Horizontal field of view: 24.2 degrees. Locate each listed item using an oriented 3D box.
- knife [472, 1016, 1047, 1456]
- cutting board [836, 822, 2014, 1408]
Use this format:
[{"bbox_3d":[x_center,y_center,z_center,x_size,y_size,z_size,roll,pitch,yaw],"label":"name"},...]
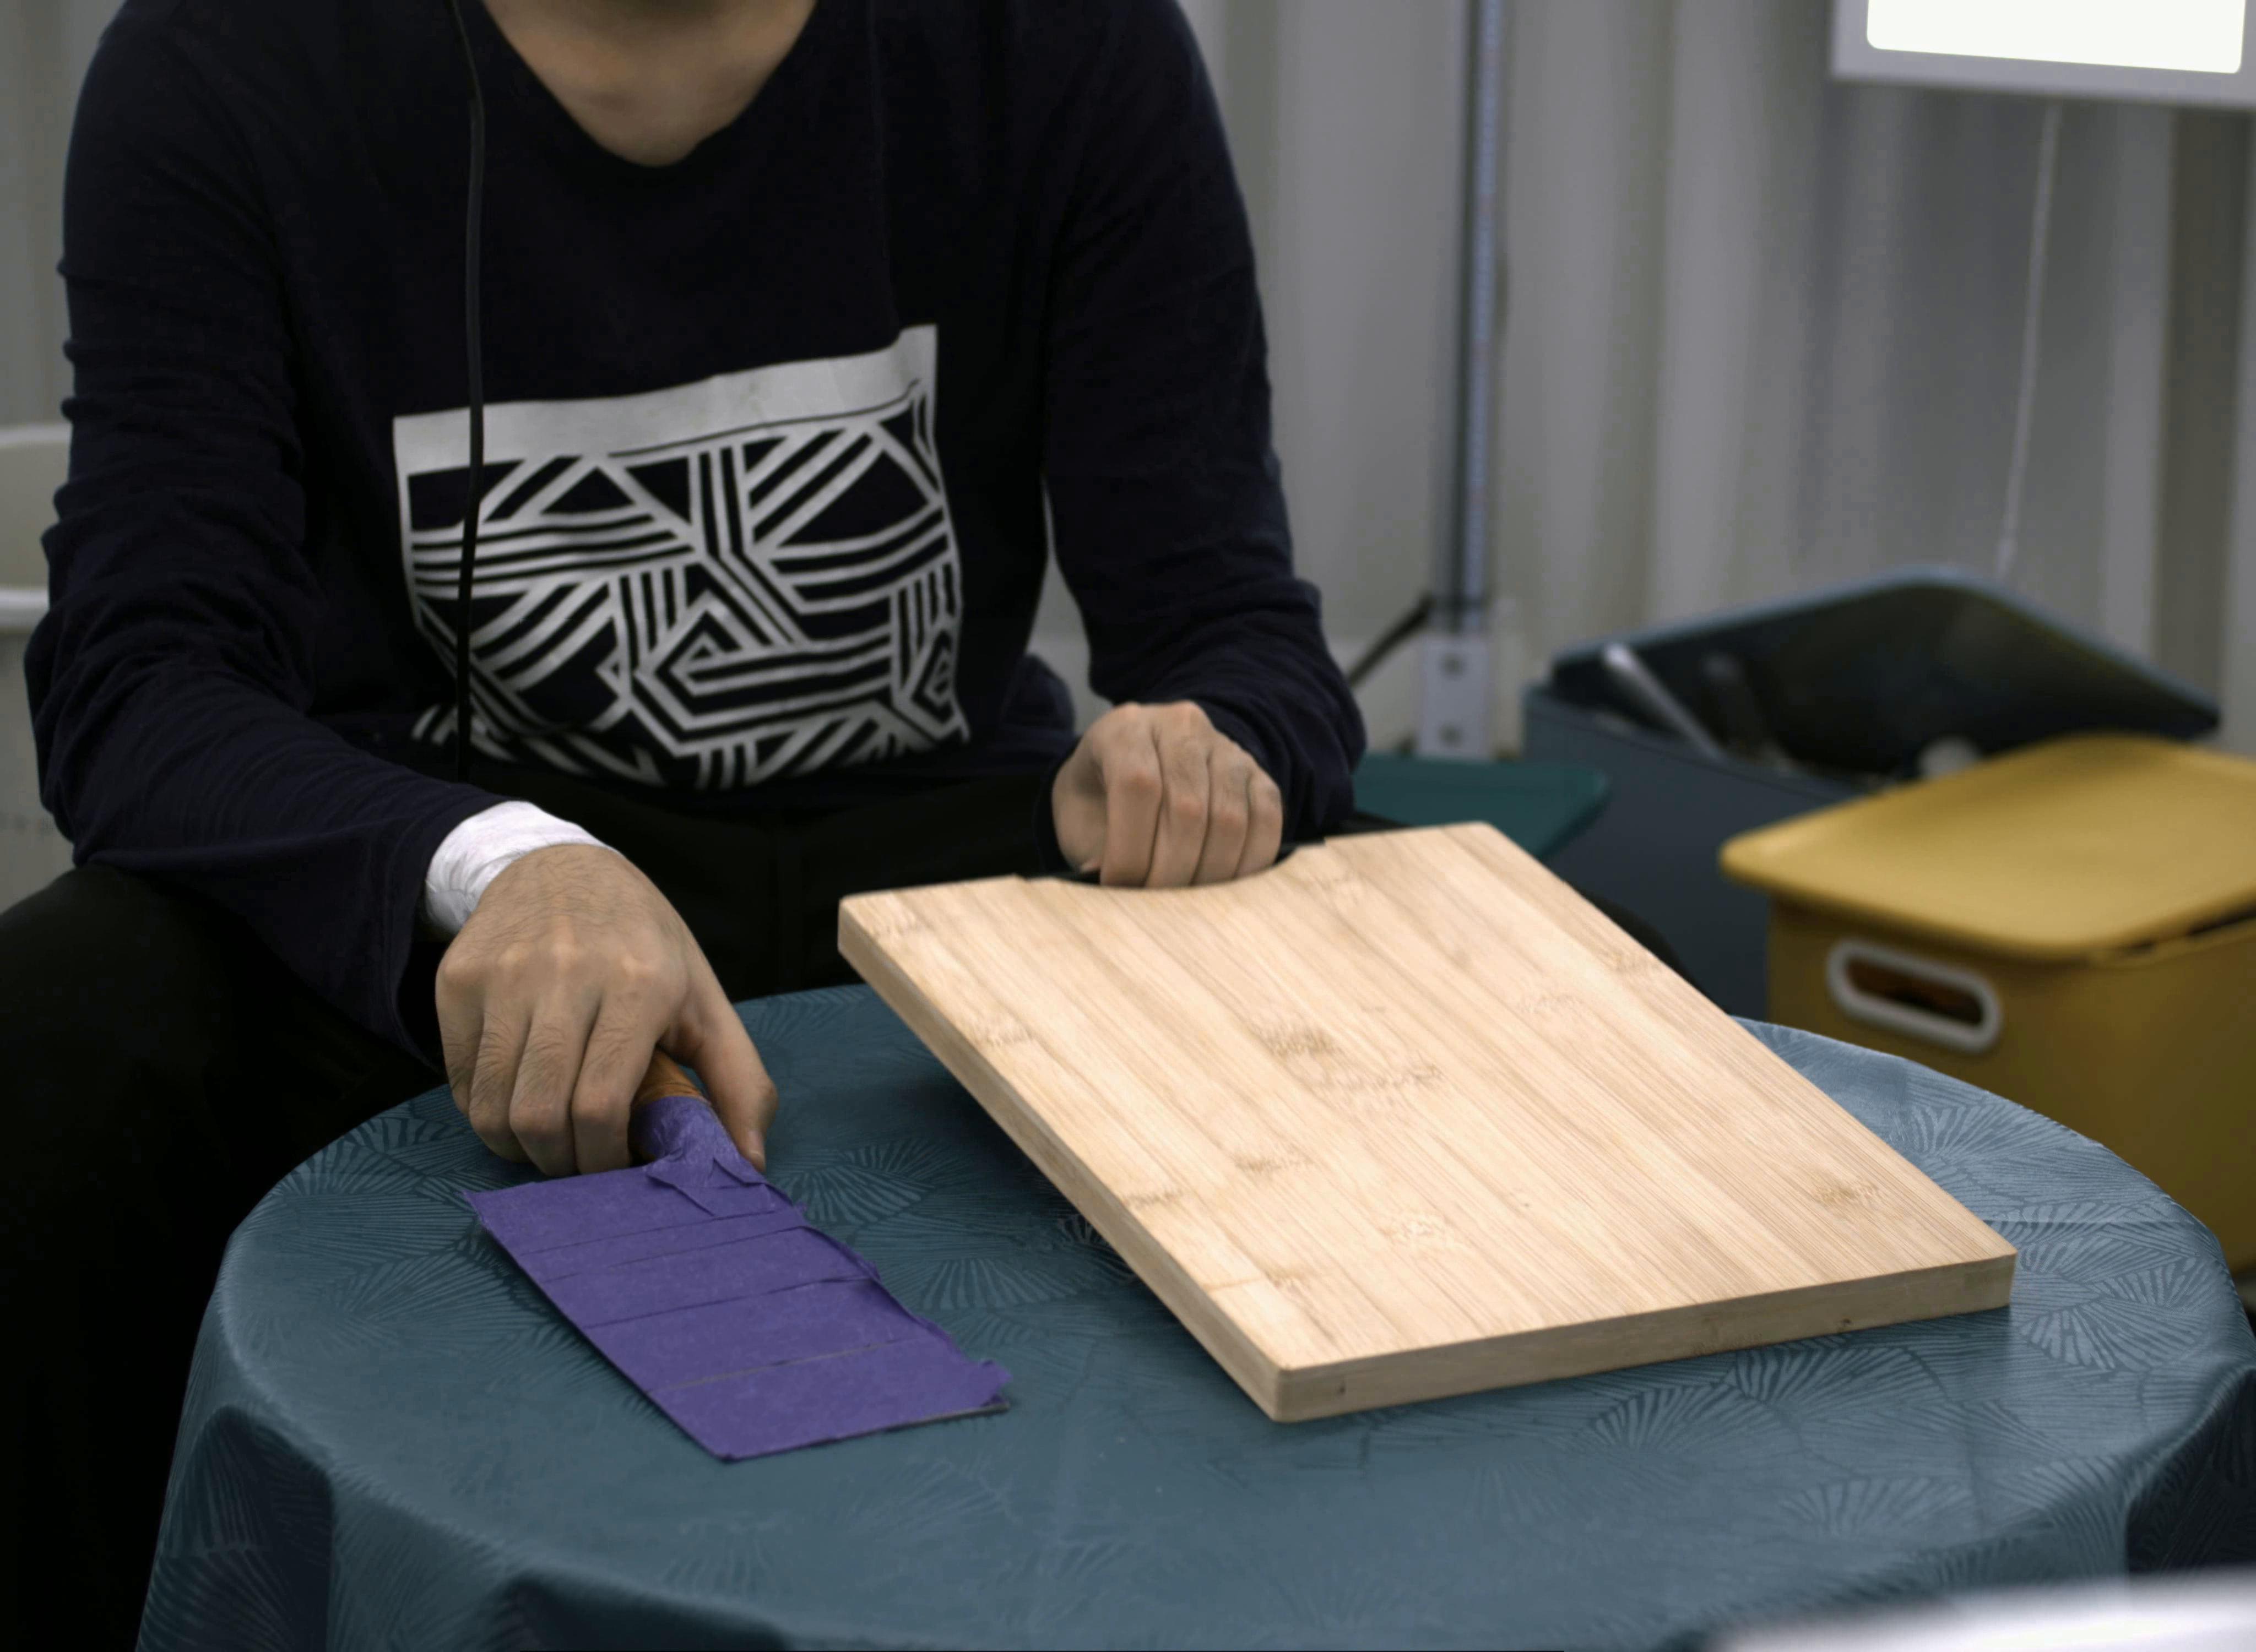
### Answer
[{"bbox_3d":[-0.136,0.117,1.554,0.104,0.032,0.311,-7,18,-26],"label":"knife"},{"bbox_3d":[0.080,0.081,1.627,0.251,0.024,0.344,-6,24,-24],"label":"cutting board"}]
